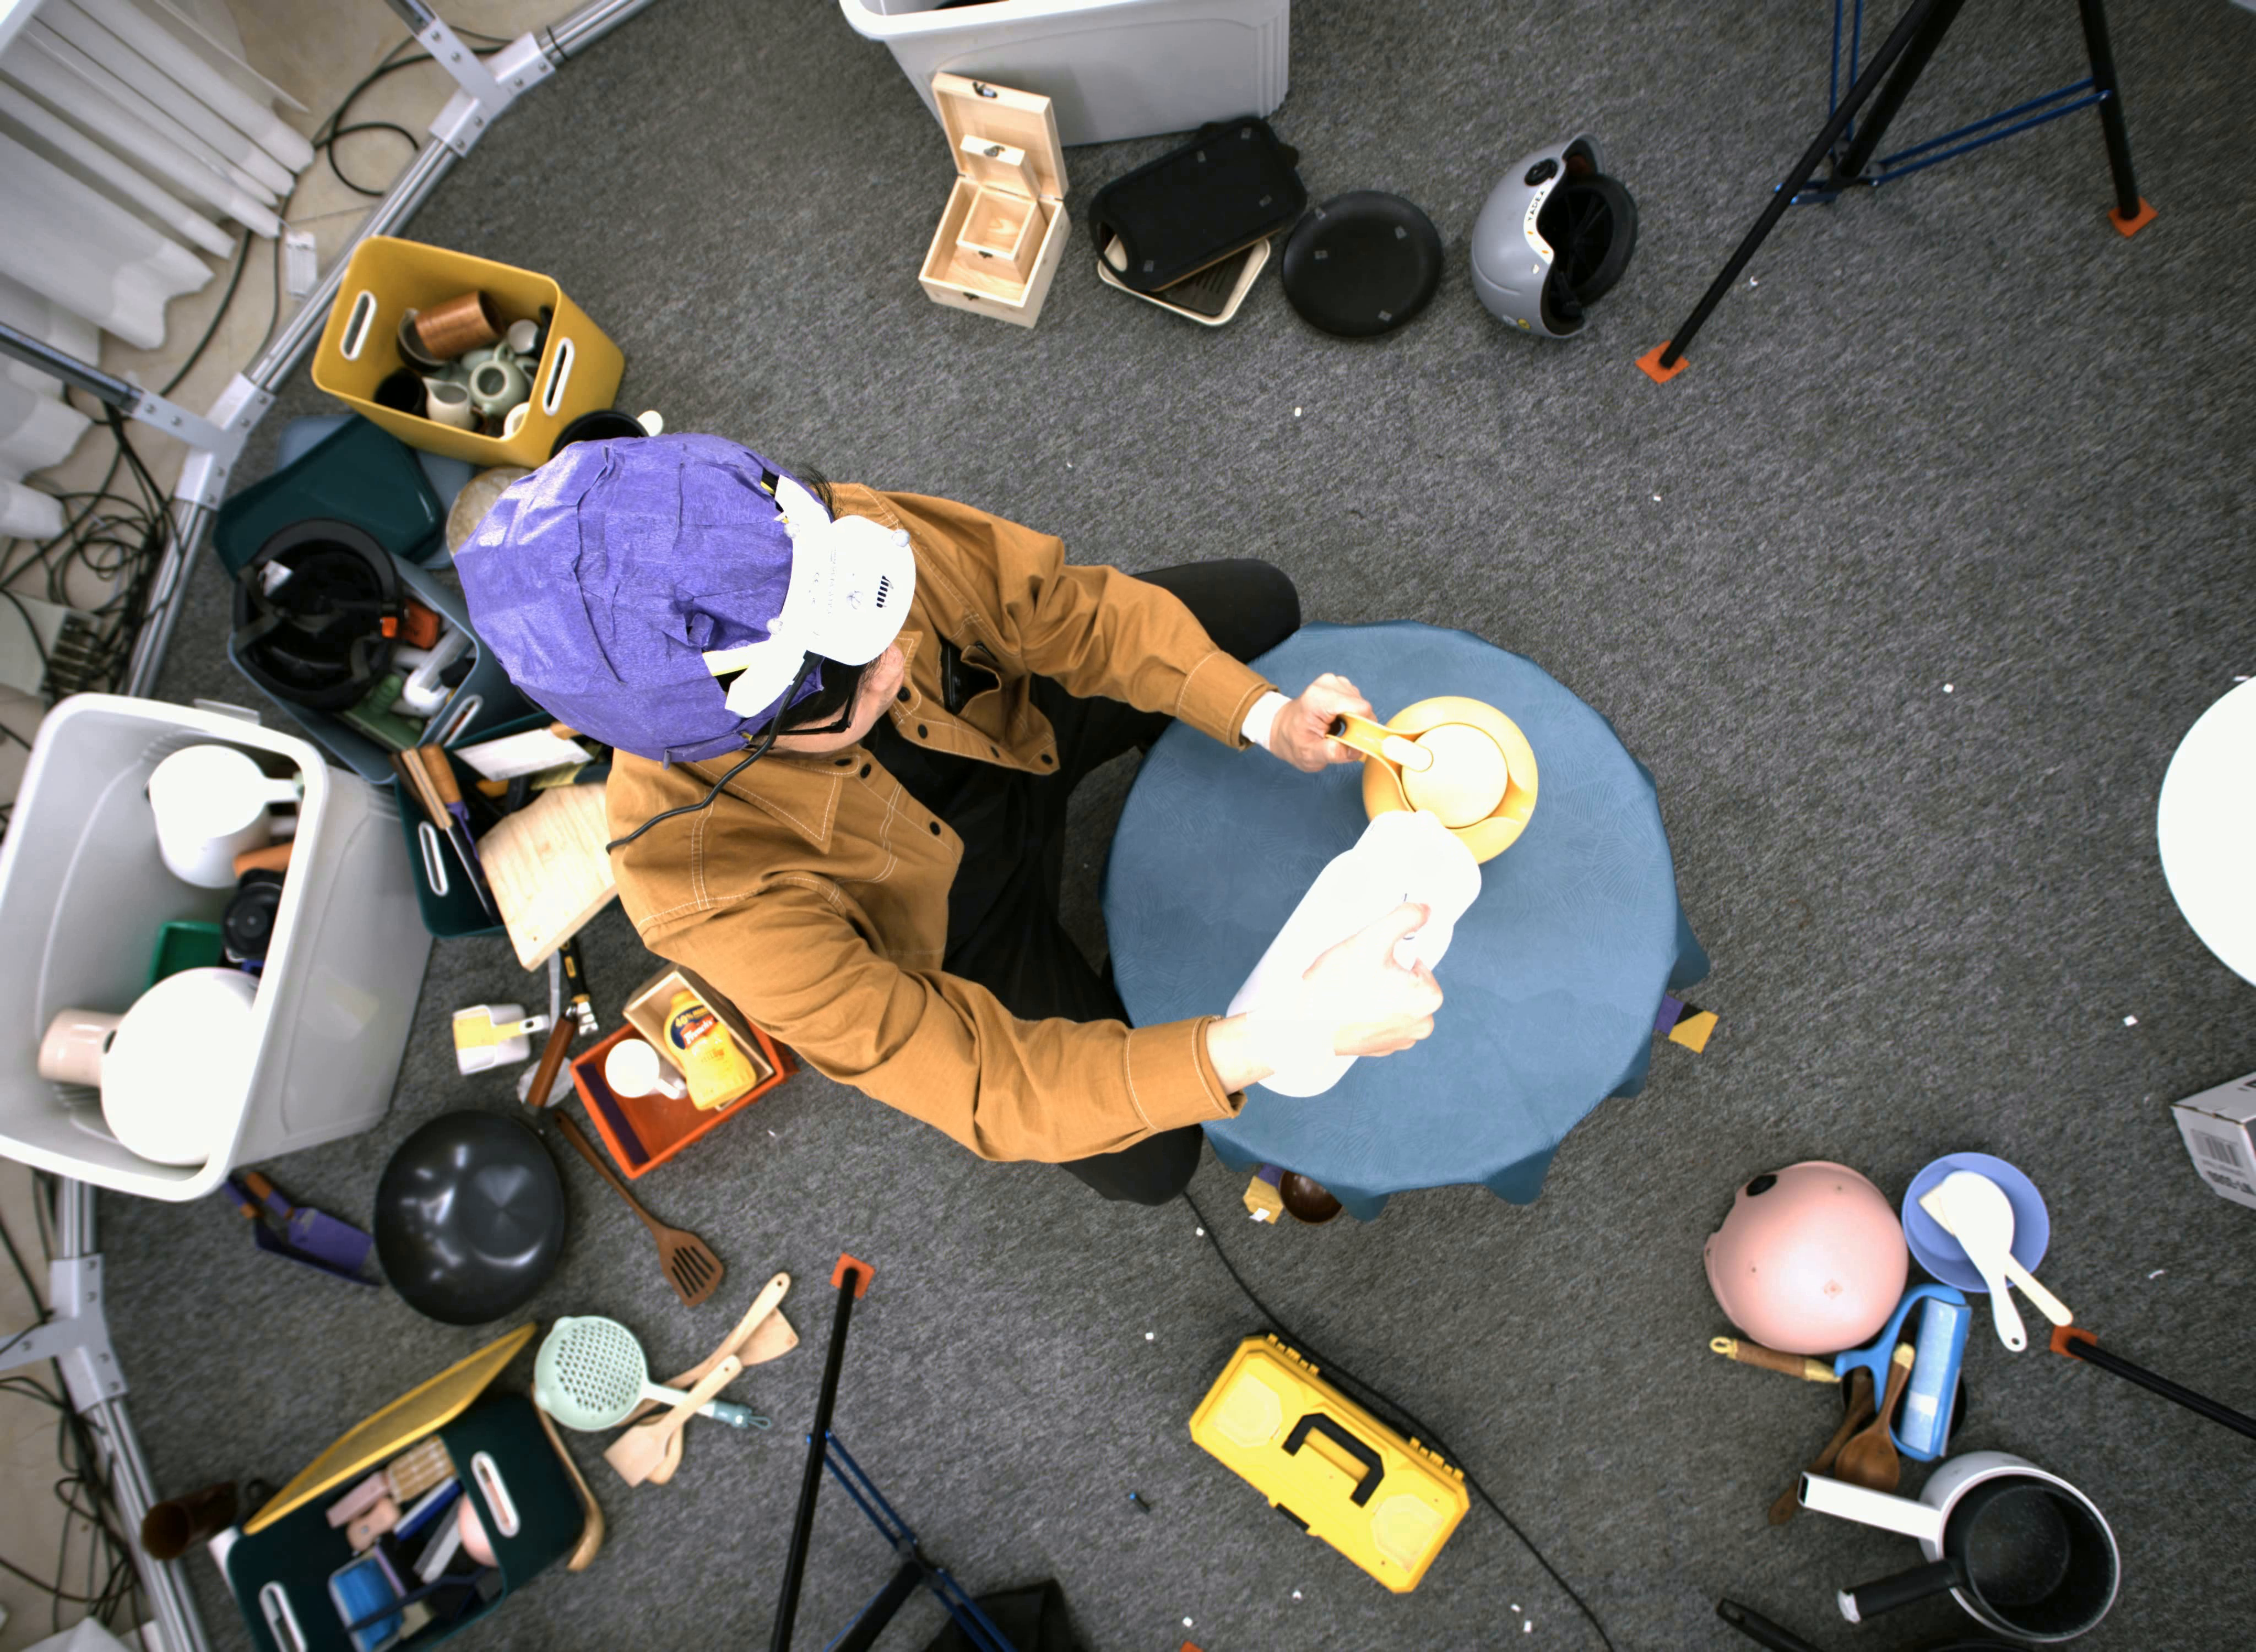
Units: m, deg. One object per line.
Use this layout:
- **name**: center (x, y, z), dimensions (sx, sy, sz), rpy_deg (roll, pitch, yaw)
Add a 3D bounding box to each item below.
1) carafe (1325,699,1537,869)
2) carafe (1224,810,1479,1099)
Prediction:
- **carafe**: center (0.281, -0.050, 1.287), dimensions (0.202, 0.260, 0.164), rpy_deg (29, 92, 8)
- **carafe**: center (0.177, 0.124, 1.141), dimensions (0.124, 0.168, 0.276), rpy_deg (27, 135, -3)
